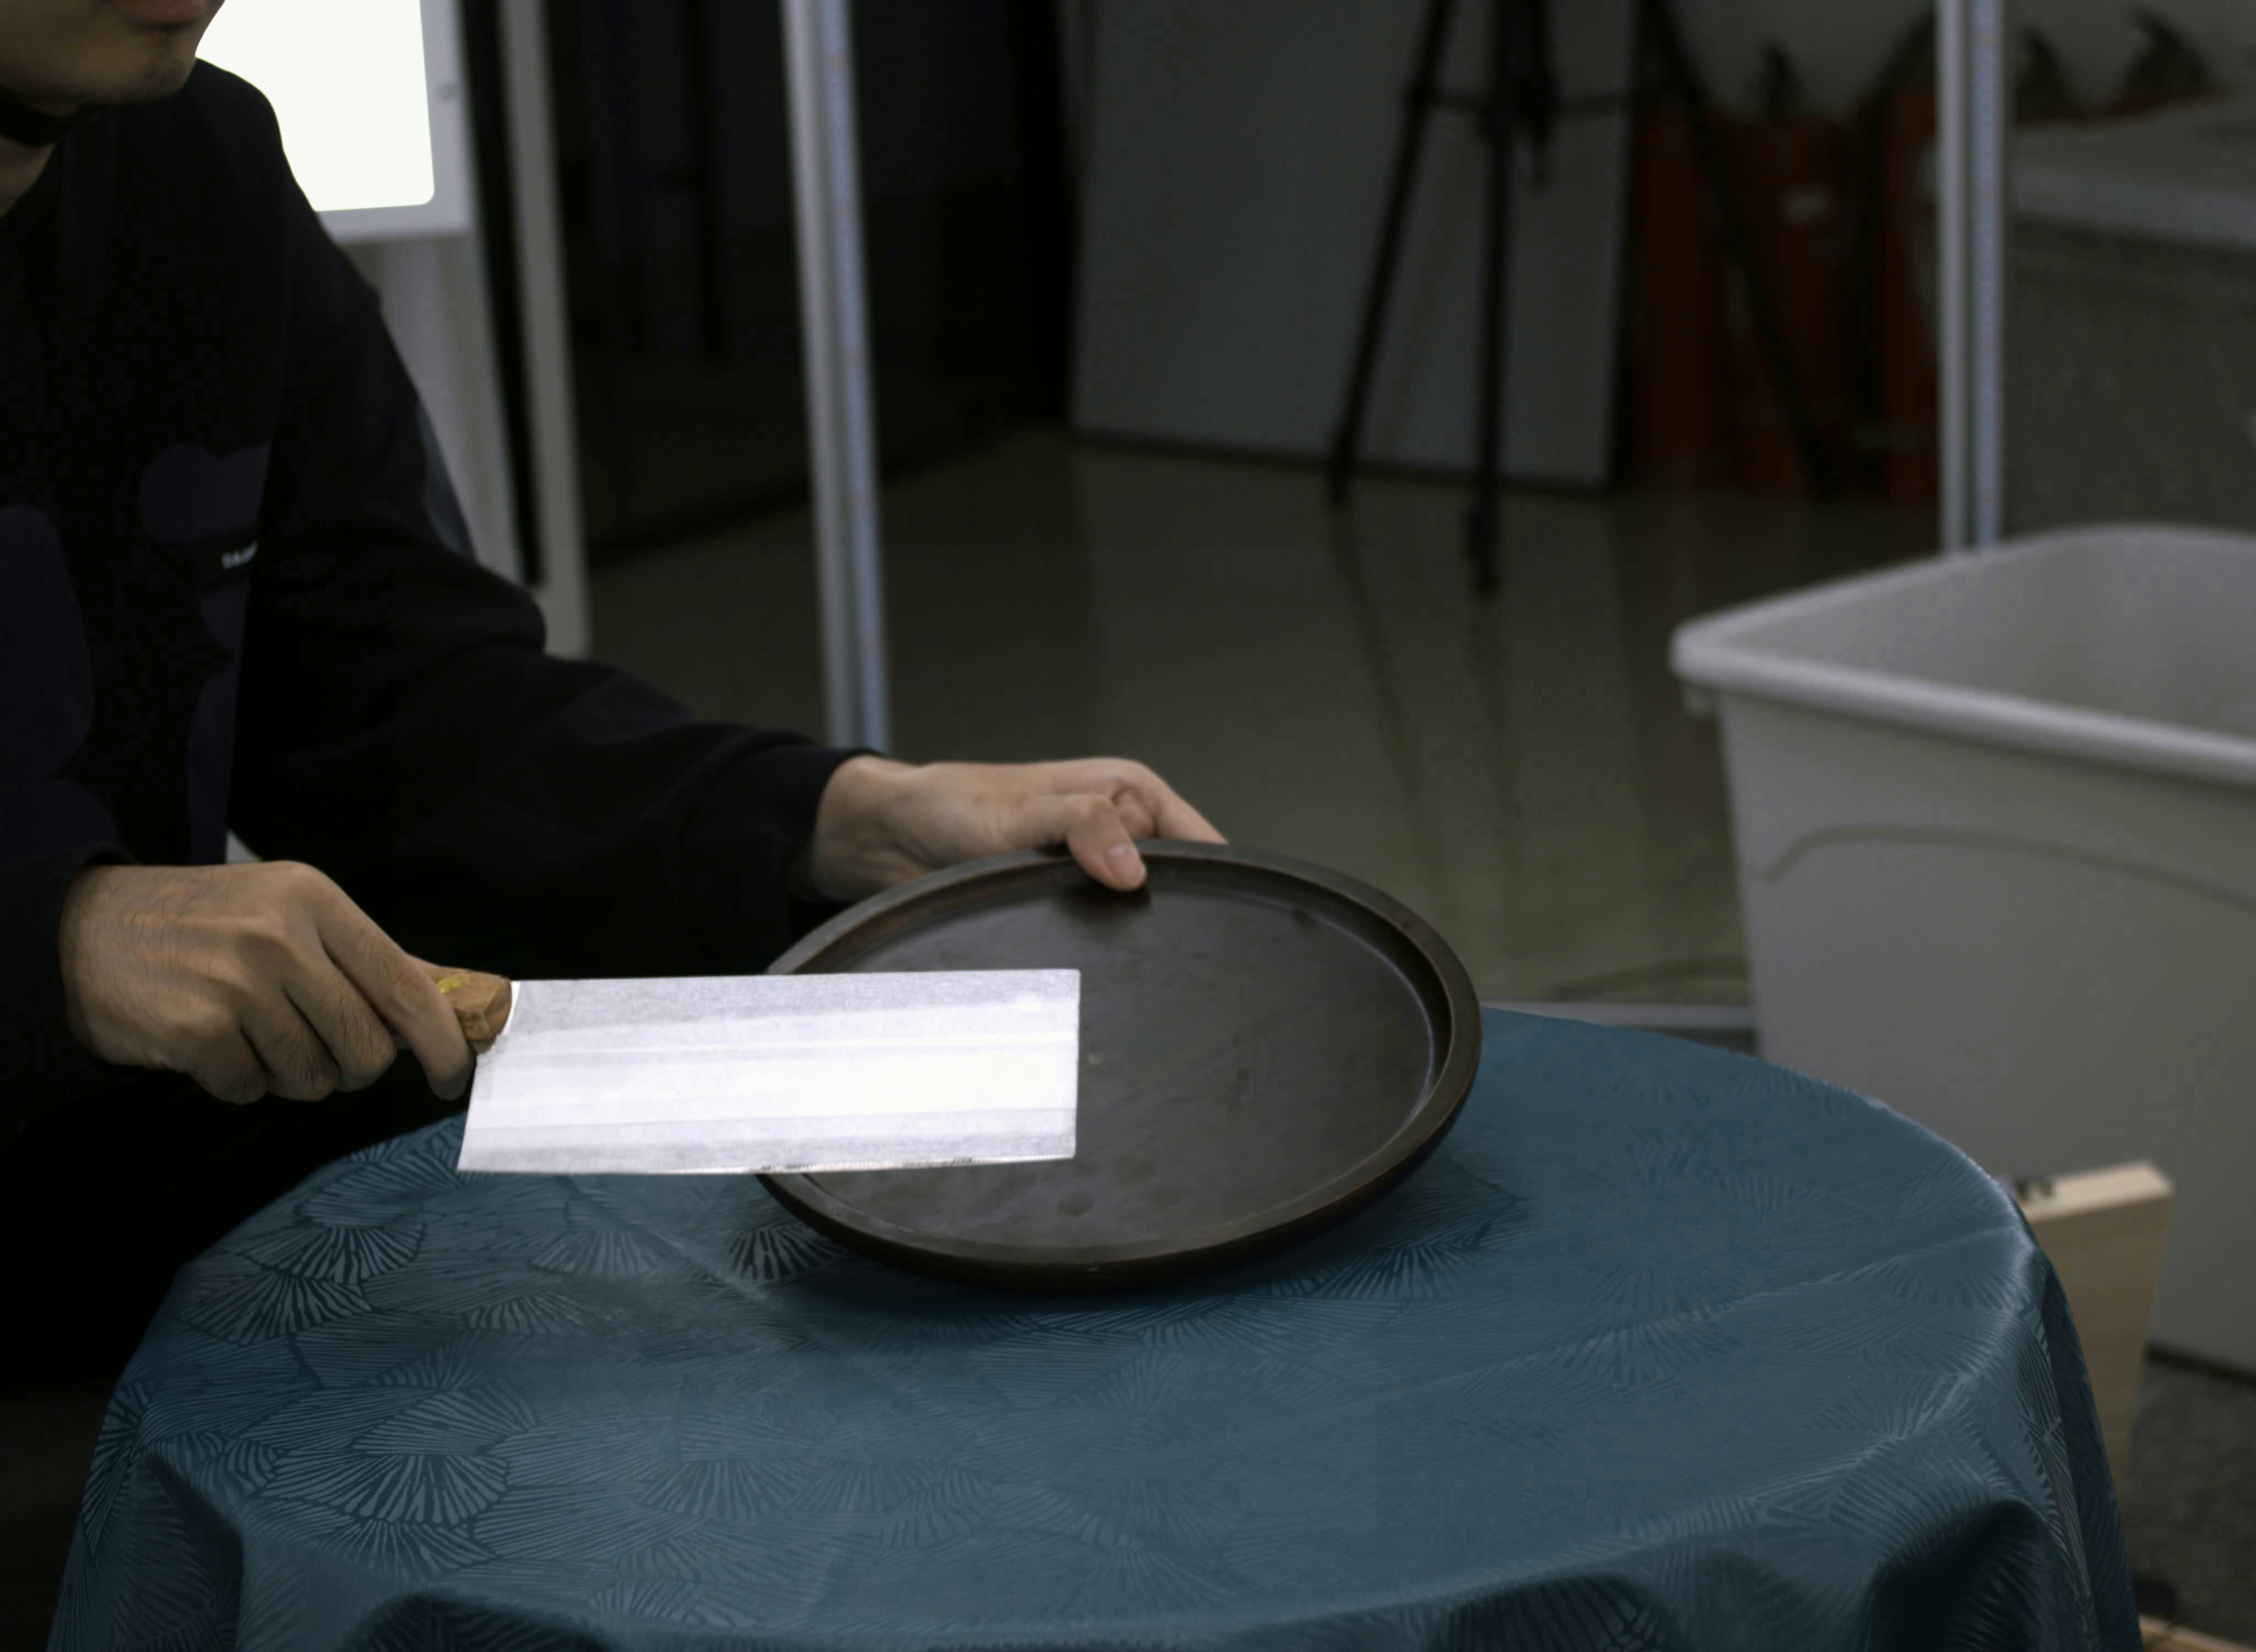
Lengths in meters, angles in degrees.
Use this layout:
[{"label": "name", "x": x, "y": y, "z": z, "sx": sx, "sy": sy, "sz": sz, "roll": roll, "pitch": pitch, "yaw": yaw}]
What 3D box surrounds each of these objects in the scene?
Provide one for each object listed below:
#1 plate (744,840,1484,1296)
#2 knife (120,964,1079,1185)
[{"label": "plate", "x": -0.008, "y": 0.077, "z": 1.768, "sx": 0.251, "sy": 0.029, "sz": 0.256, "roll": -4, "pitch": 29, "yaw": 1}, {"label": "knife", "x": -0.165, "y": 0.077, "z": 1.668, "sx": 0.302, "sy": 0.021, "sz": 0.093, "roll": -2, "pitch": 39, "yaw": 5}]
